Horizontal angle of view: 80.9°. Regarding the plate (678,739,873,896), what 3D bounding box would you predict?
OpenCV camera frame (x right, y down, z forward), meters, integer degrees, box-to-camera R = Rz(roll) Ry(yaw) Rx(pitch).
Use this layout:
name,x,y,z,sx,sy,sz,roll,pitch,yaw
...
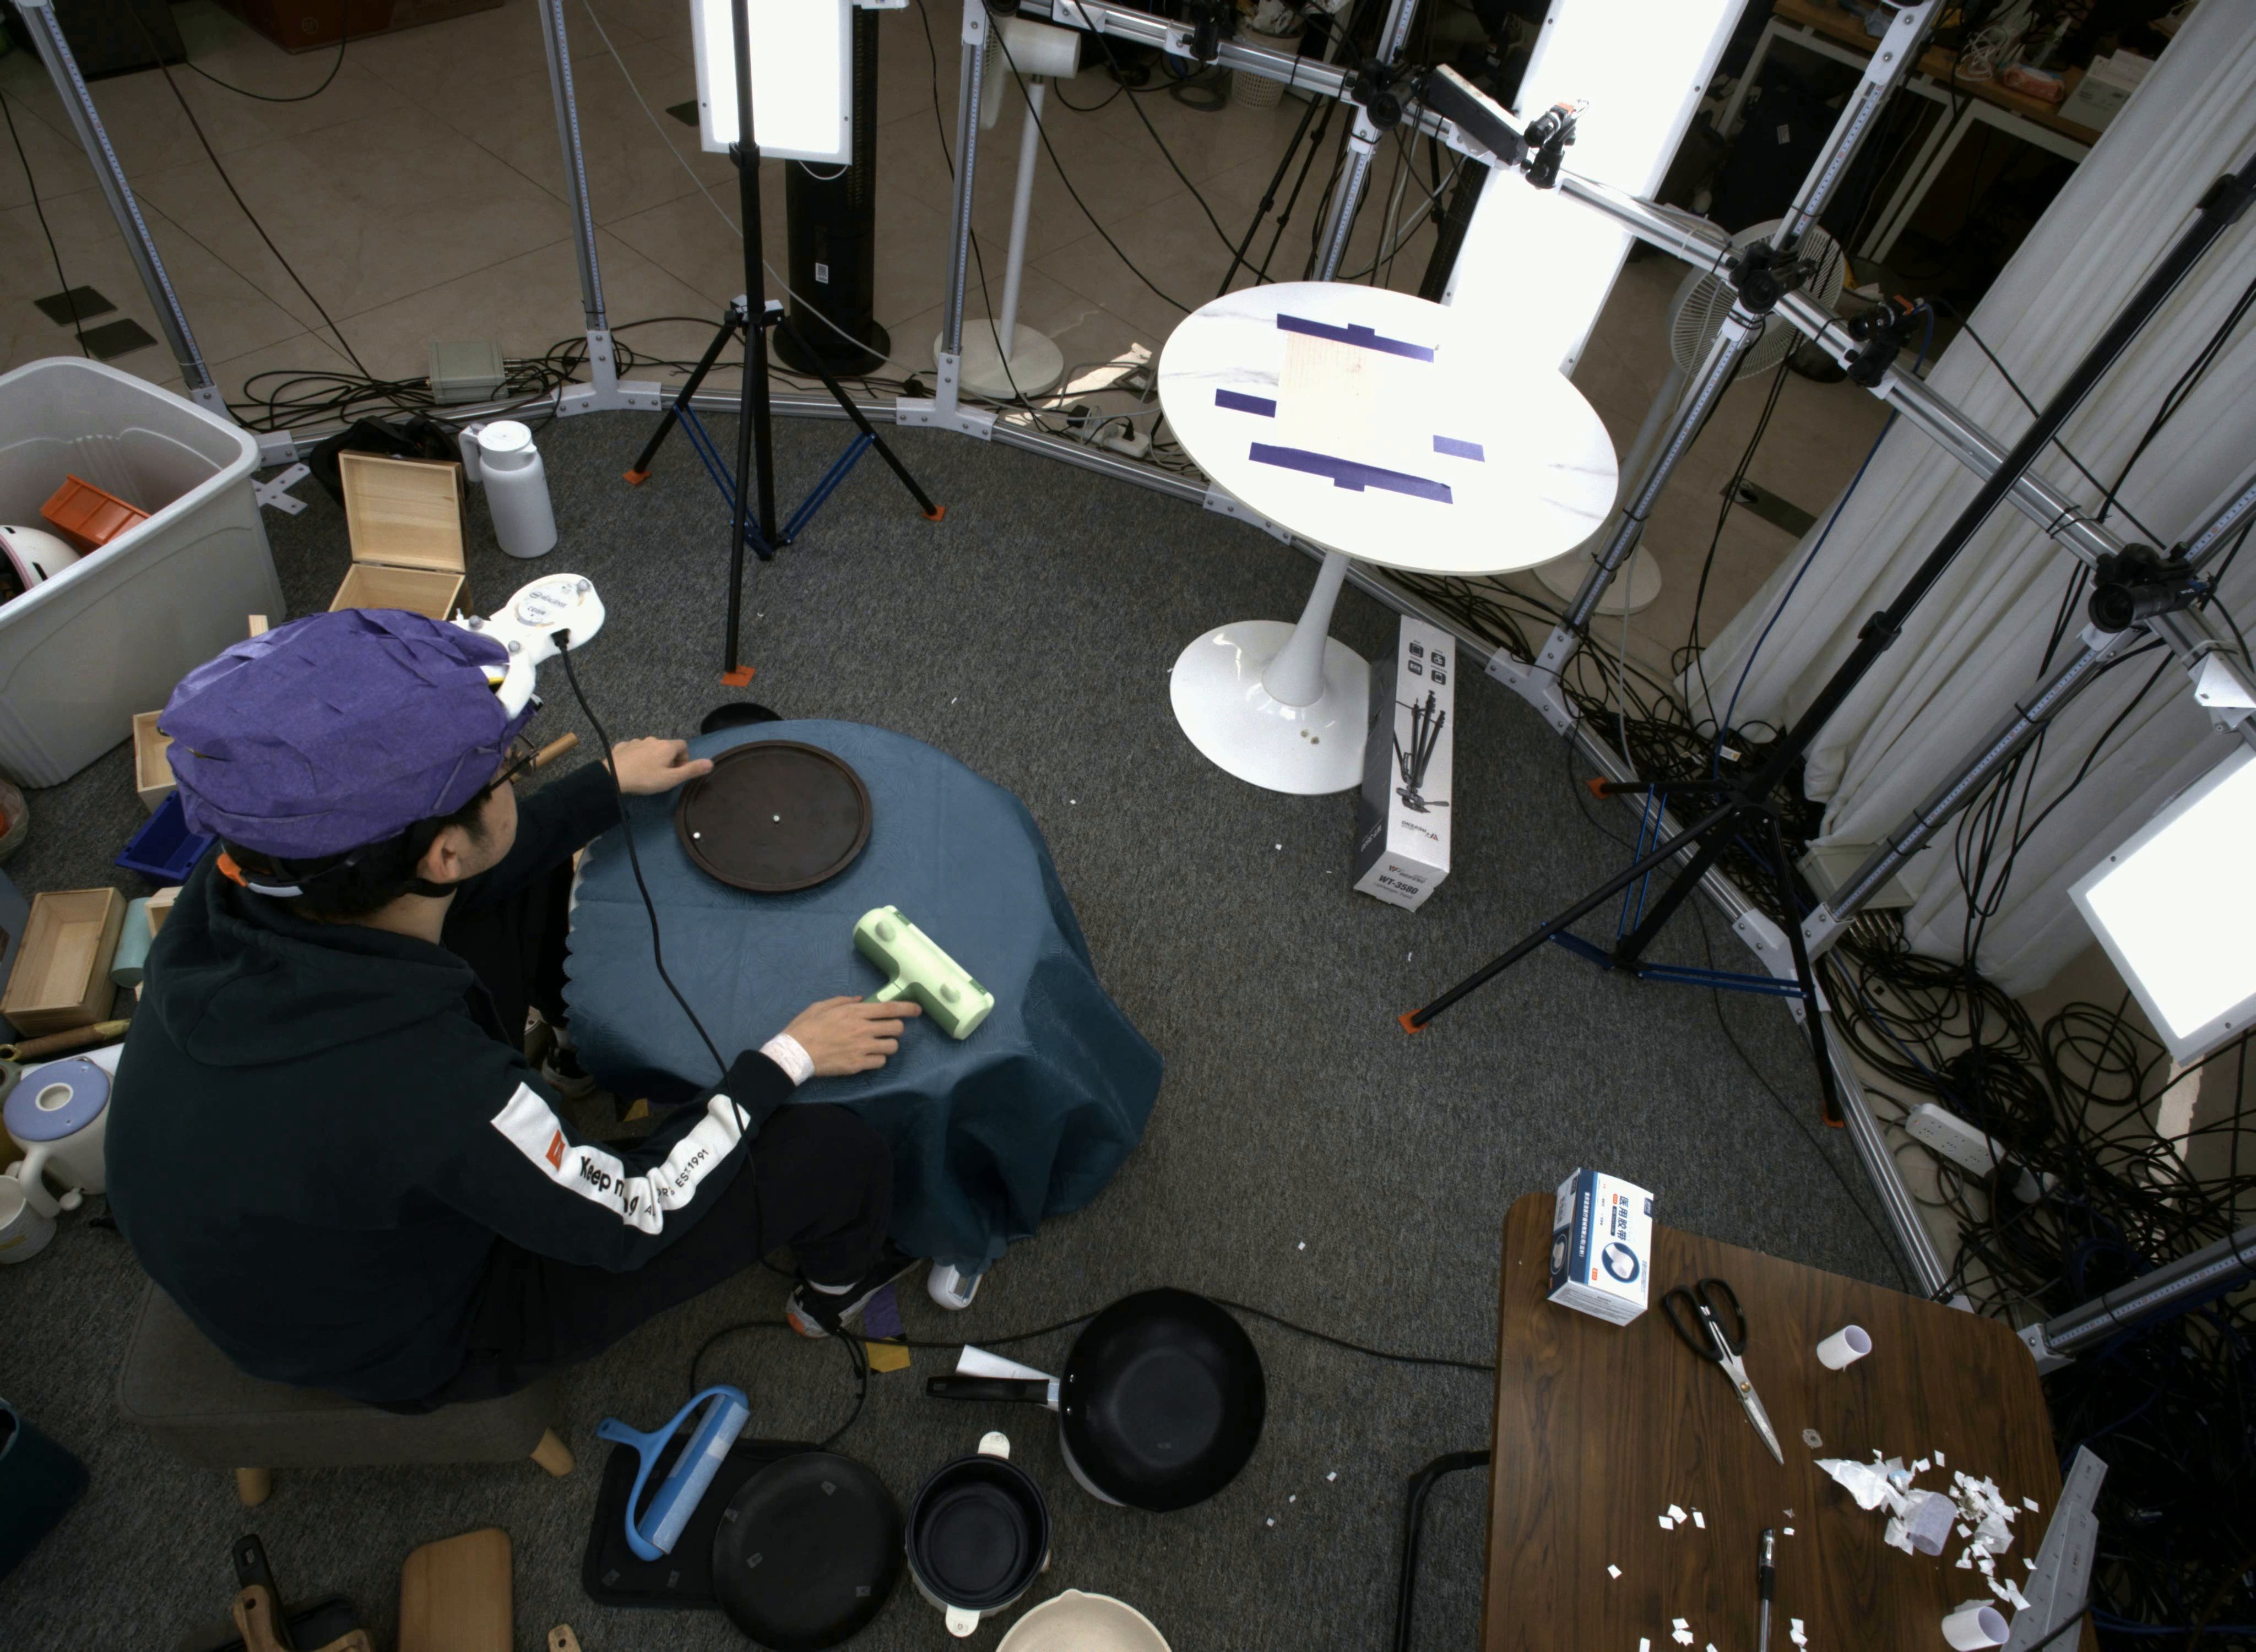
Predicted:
name,x,y,z,sx,sy,sz,roll,pitch,yaw
plate,-0.465,-0.014,1.714,0.255,0.029,0.250,9,53,-10

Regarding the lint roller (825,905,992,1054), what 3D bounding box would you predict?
name,x,y,z,sx,sy,sz,roll,pitch,yaw
lint roller,-0.291,0.199,1.566,0.194,0.084,0.184,40,51,16
